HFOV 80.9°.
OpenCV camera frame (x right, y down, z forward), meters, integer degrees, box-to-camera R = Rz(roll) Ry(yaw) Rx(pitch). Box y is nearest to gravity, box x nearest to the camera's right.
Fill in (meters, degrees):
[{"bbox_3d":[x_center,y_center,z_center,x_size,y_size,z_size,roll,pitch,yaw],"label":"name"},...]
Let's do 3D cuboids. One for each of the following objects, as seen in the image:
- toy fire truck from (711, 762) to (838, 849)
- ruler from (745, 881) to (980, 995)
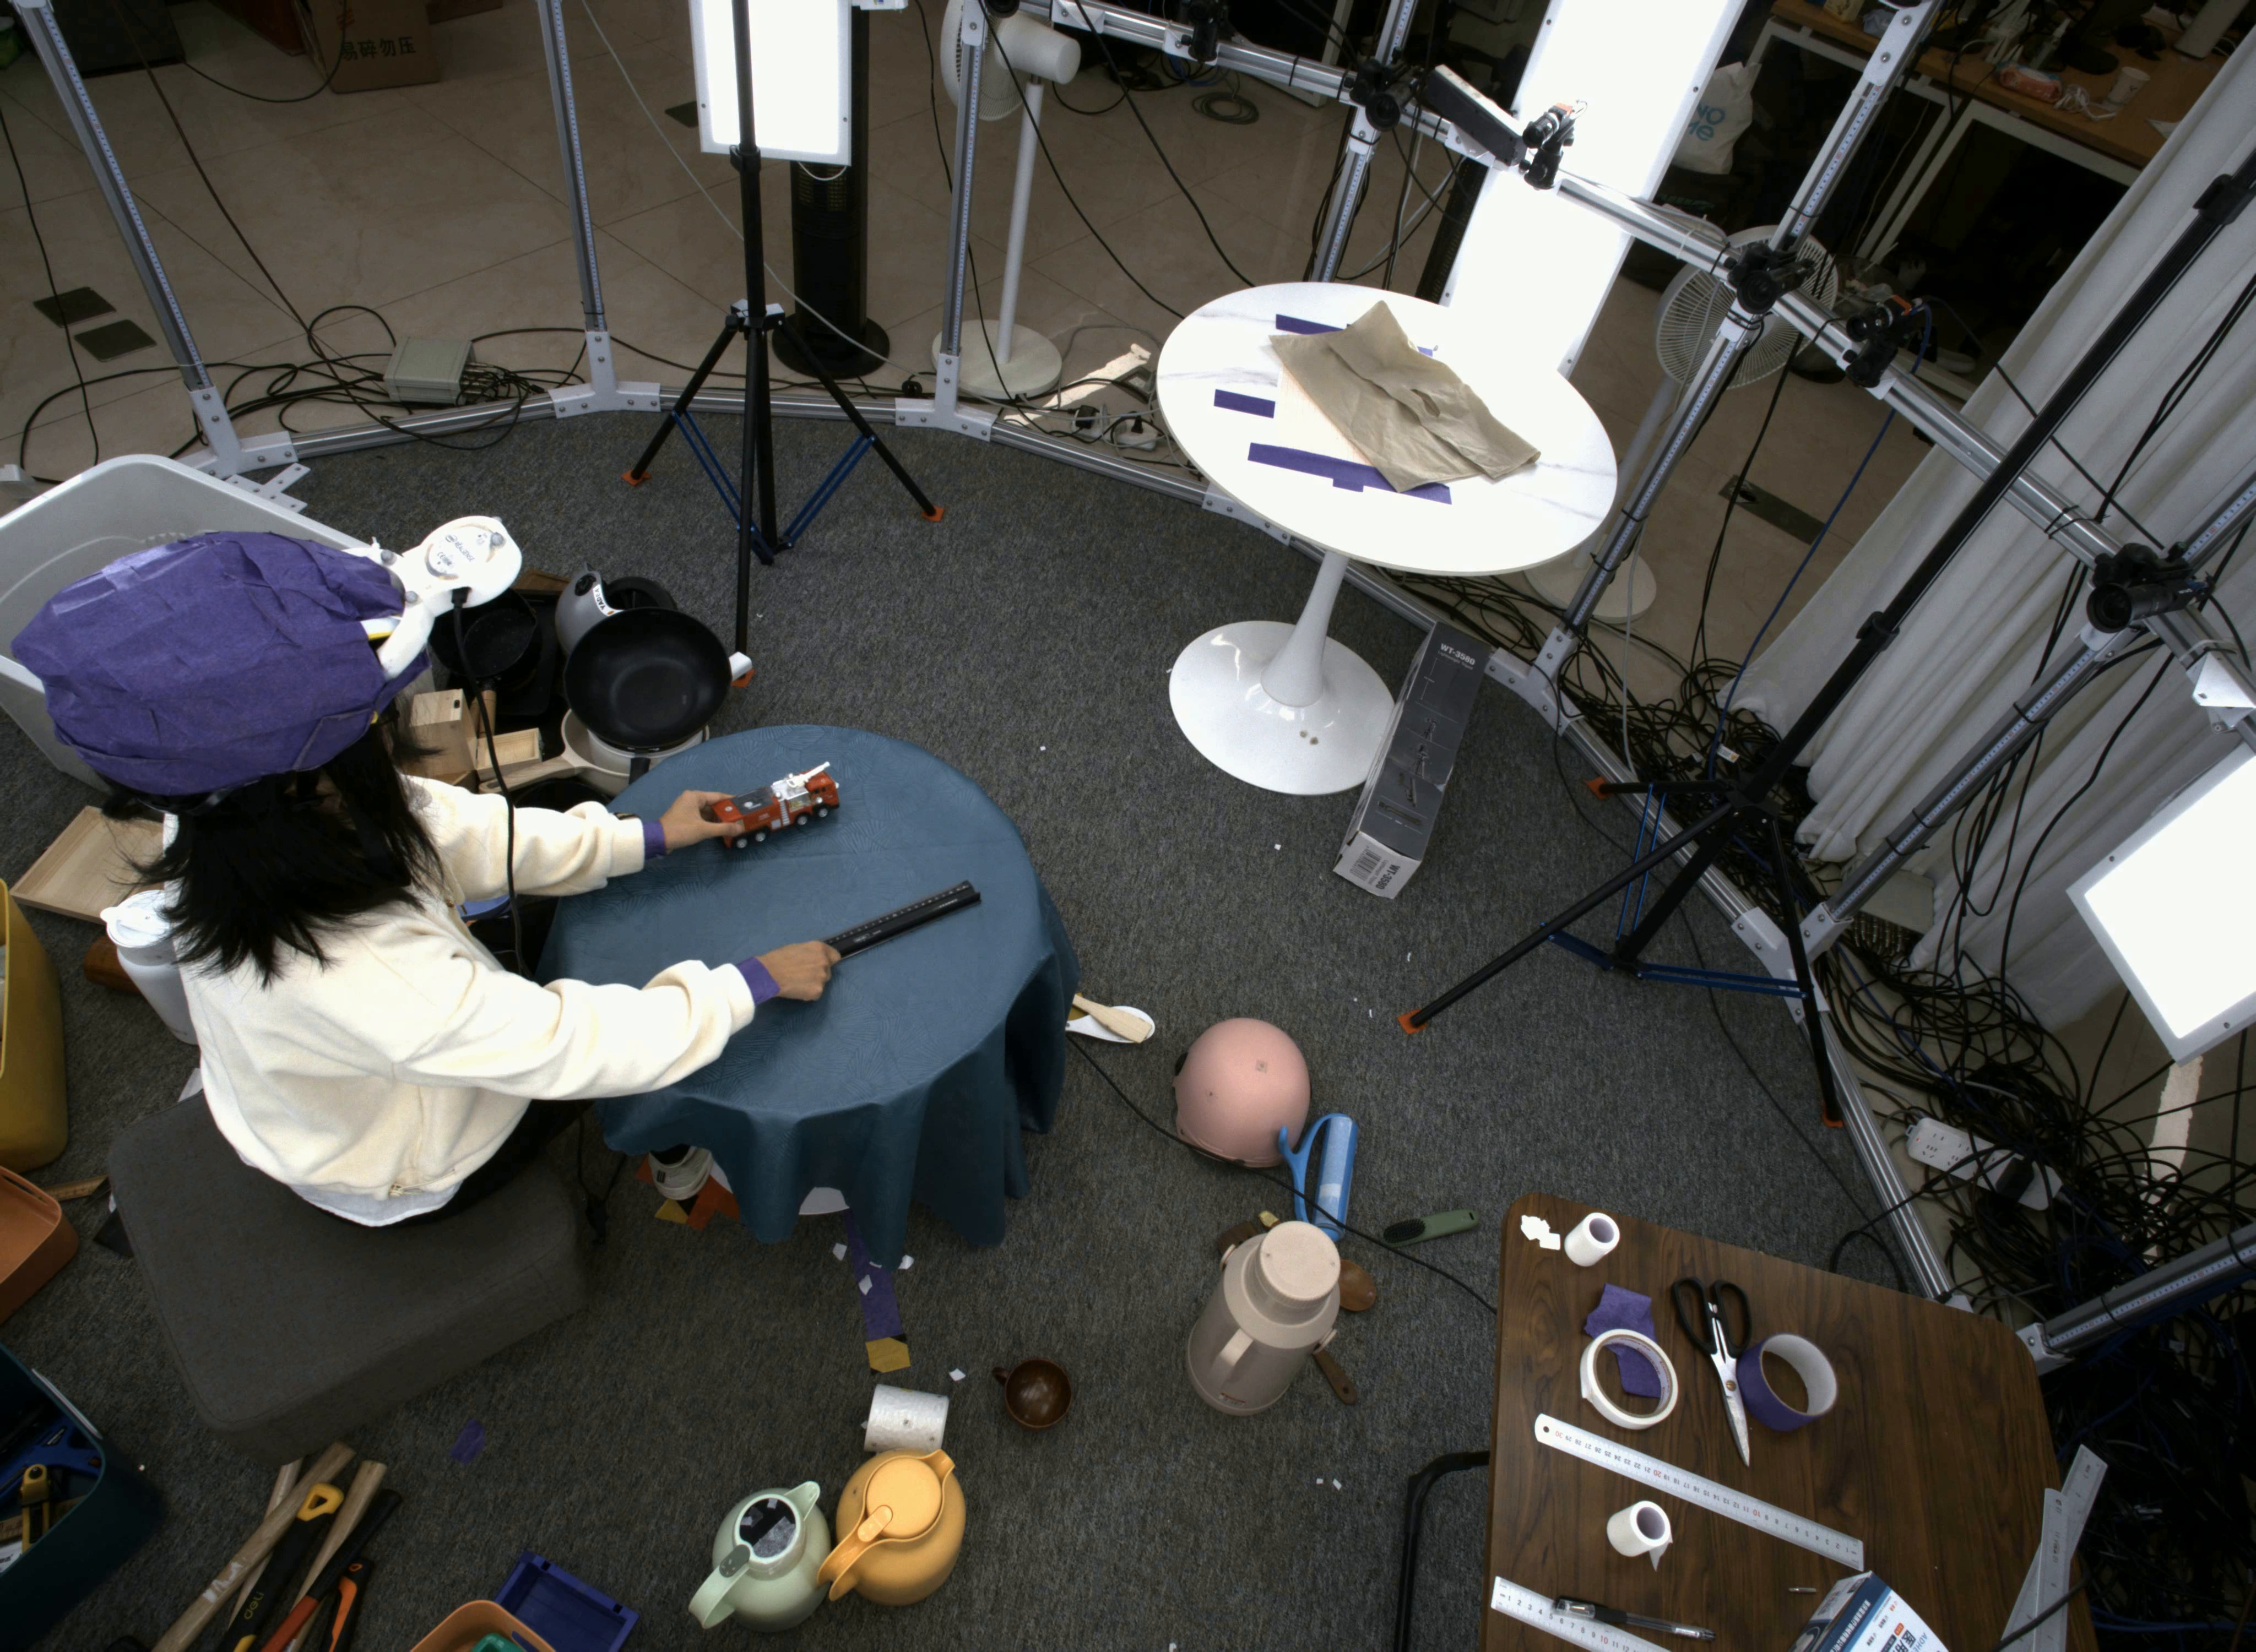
[{"bbox_3d":[-0.460,-0.027,1.687,0.168,0.072,0.052,-25,48,-27],"label":"toy fire truck"},{"bbox_3d":[-0.329,0.131,1.635,0.314,0.017,0.038,-22,60,-28],"label":"ruler"}]
